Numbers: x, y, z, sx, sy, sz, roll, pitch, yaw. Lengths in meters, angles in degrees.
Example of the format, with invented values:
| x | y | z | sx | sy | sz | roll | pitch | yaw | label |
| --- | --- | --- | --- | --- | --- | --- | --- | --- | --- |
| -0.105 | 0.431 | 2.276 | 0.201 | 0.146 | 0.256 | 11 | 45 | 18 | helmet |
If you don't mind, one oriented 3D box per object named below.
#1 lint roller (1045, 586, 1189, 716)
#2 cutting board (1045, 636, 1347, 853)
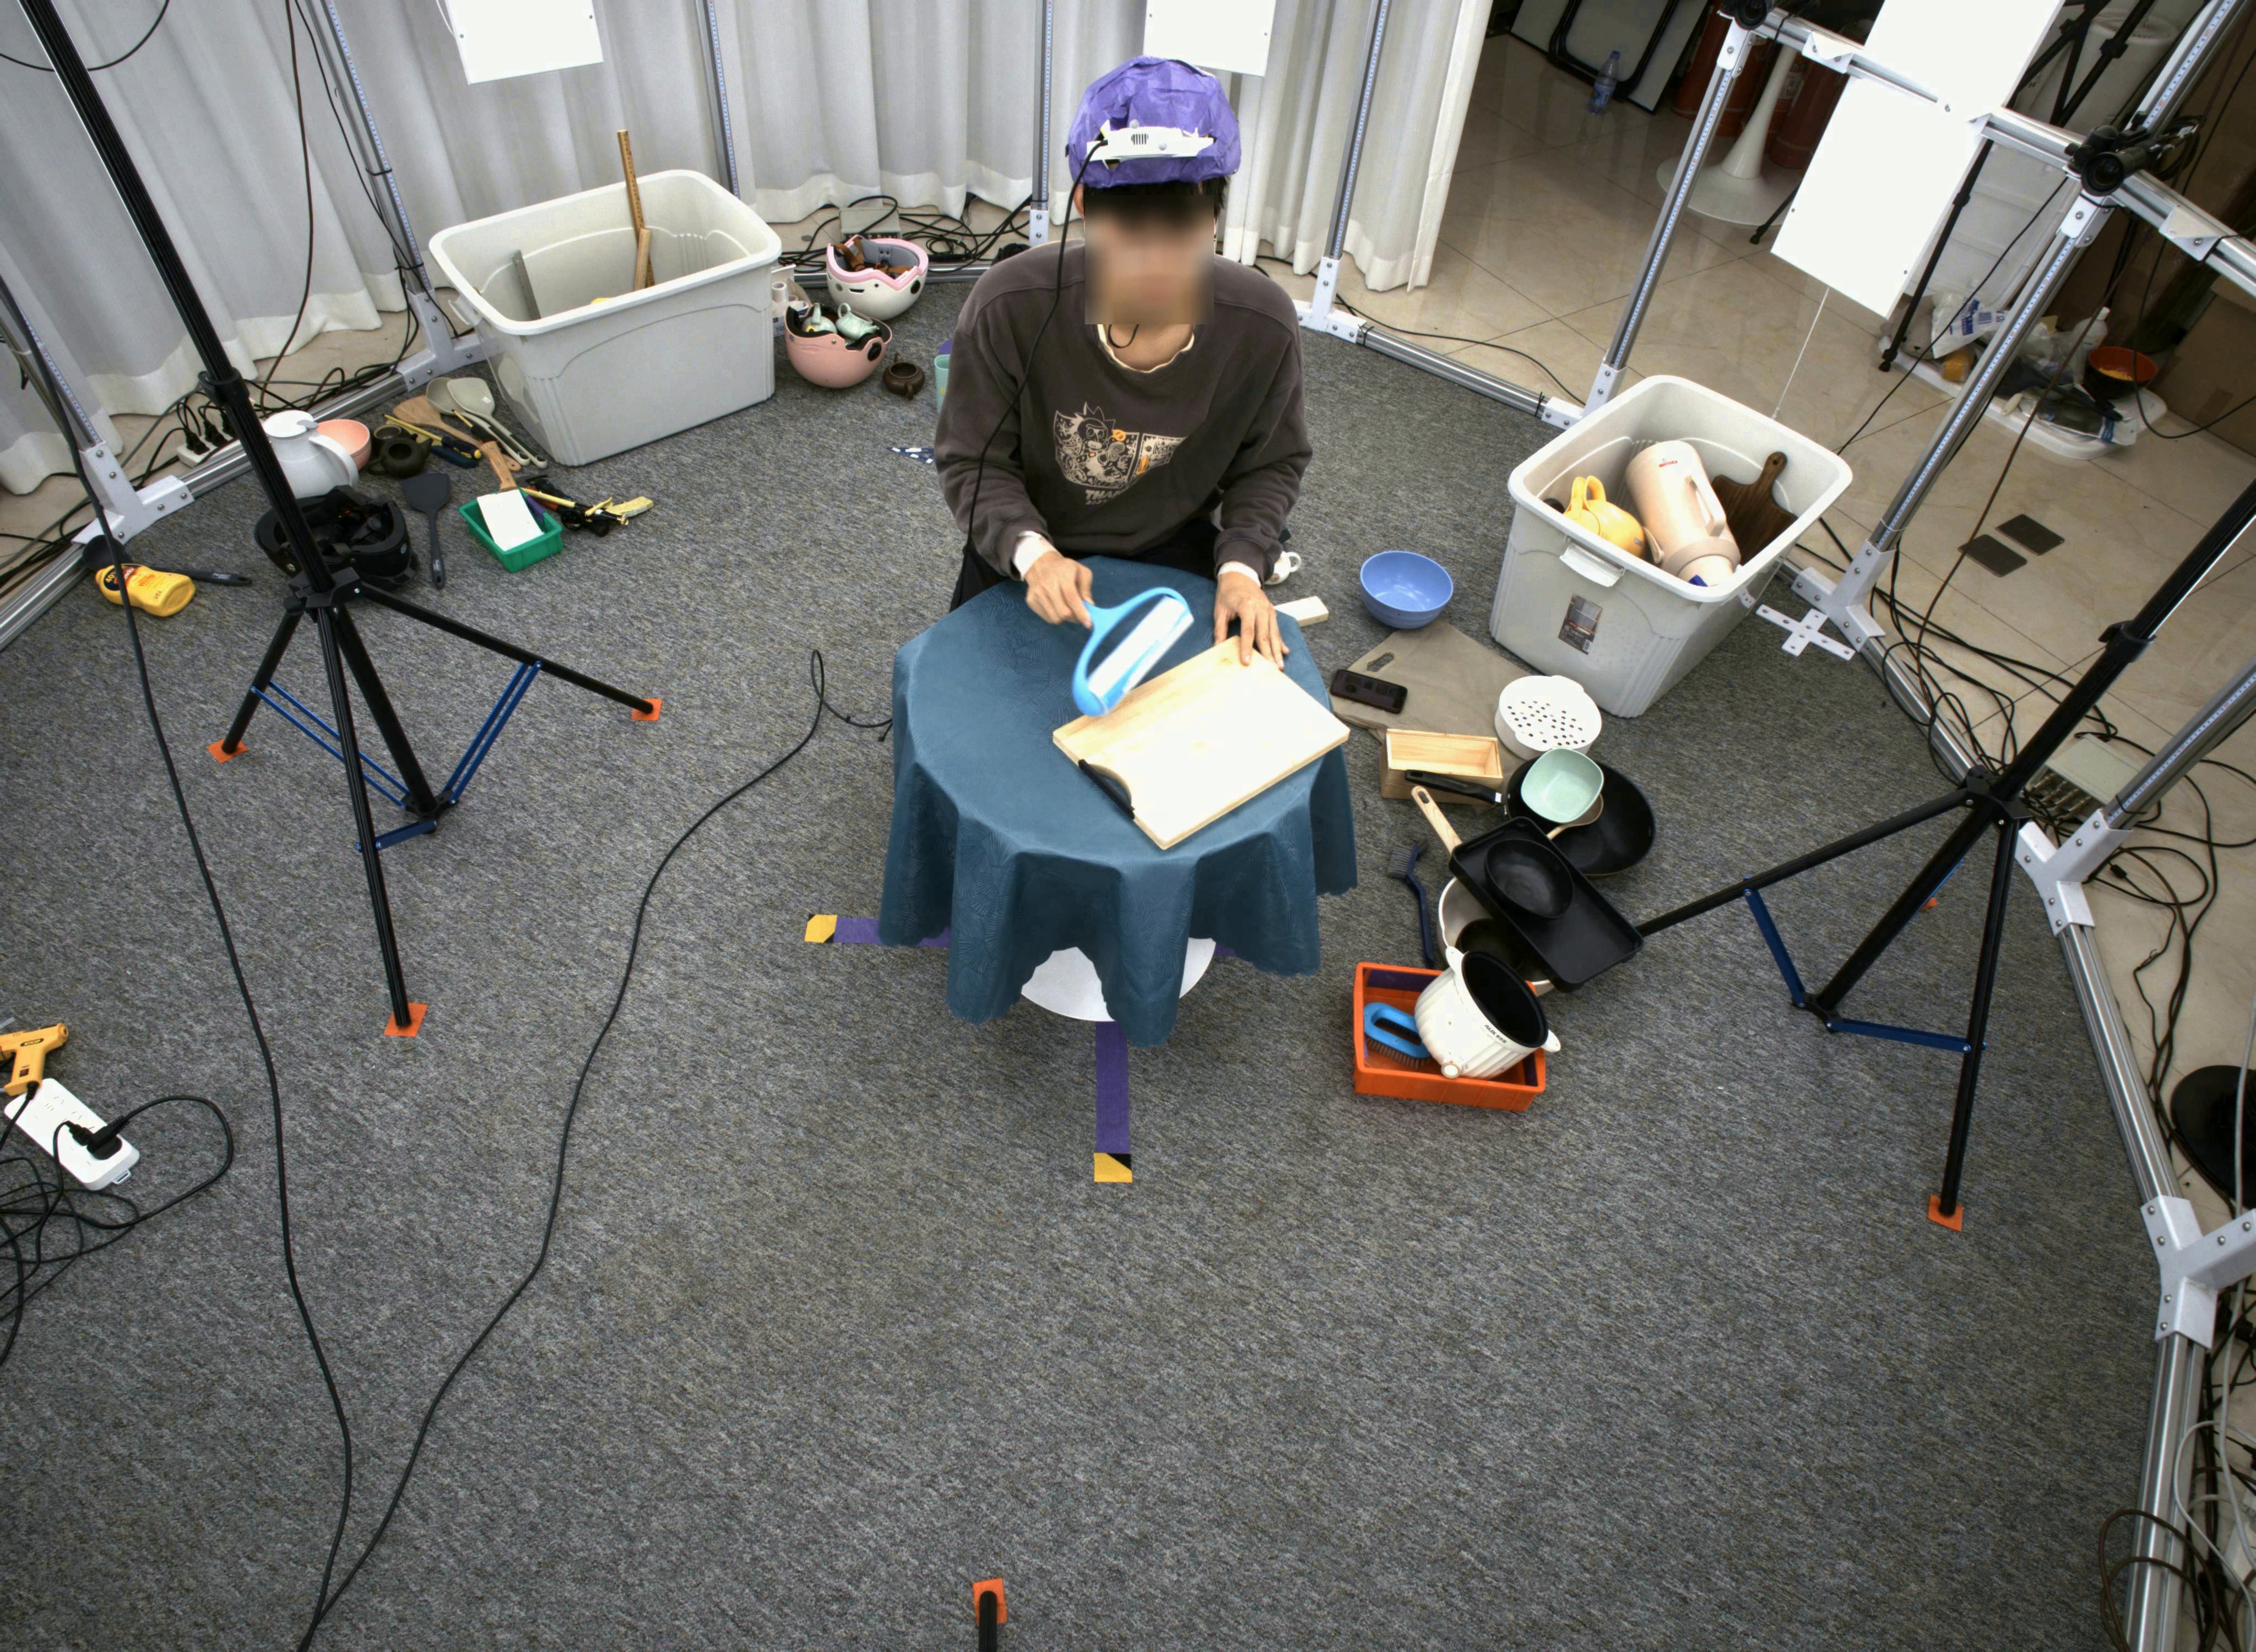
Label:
| x | y | z | sx | sy | sz | roll | pitch | yaw | label |
| --- | --- | --- | --- | --- | --- | --- | --- | --- | --- |
| -0.041 | -0.271 | 1.764 | 0.181 | 0.067 | 0.231 | 36 | 68 | 8 | lint roller |
| 0.097 | -0.122 | 1.767 | 0.351 | 0.023 | 0.255 | -31 | 57 | -26 | cutting board |
